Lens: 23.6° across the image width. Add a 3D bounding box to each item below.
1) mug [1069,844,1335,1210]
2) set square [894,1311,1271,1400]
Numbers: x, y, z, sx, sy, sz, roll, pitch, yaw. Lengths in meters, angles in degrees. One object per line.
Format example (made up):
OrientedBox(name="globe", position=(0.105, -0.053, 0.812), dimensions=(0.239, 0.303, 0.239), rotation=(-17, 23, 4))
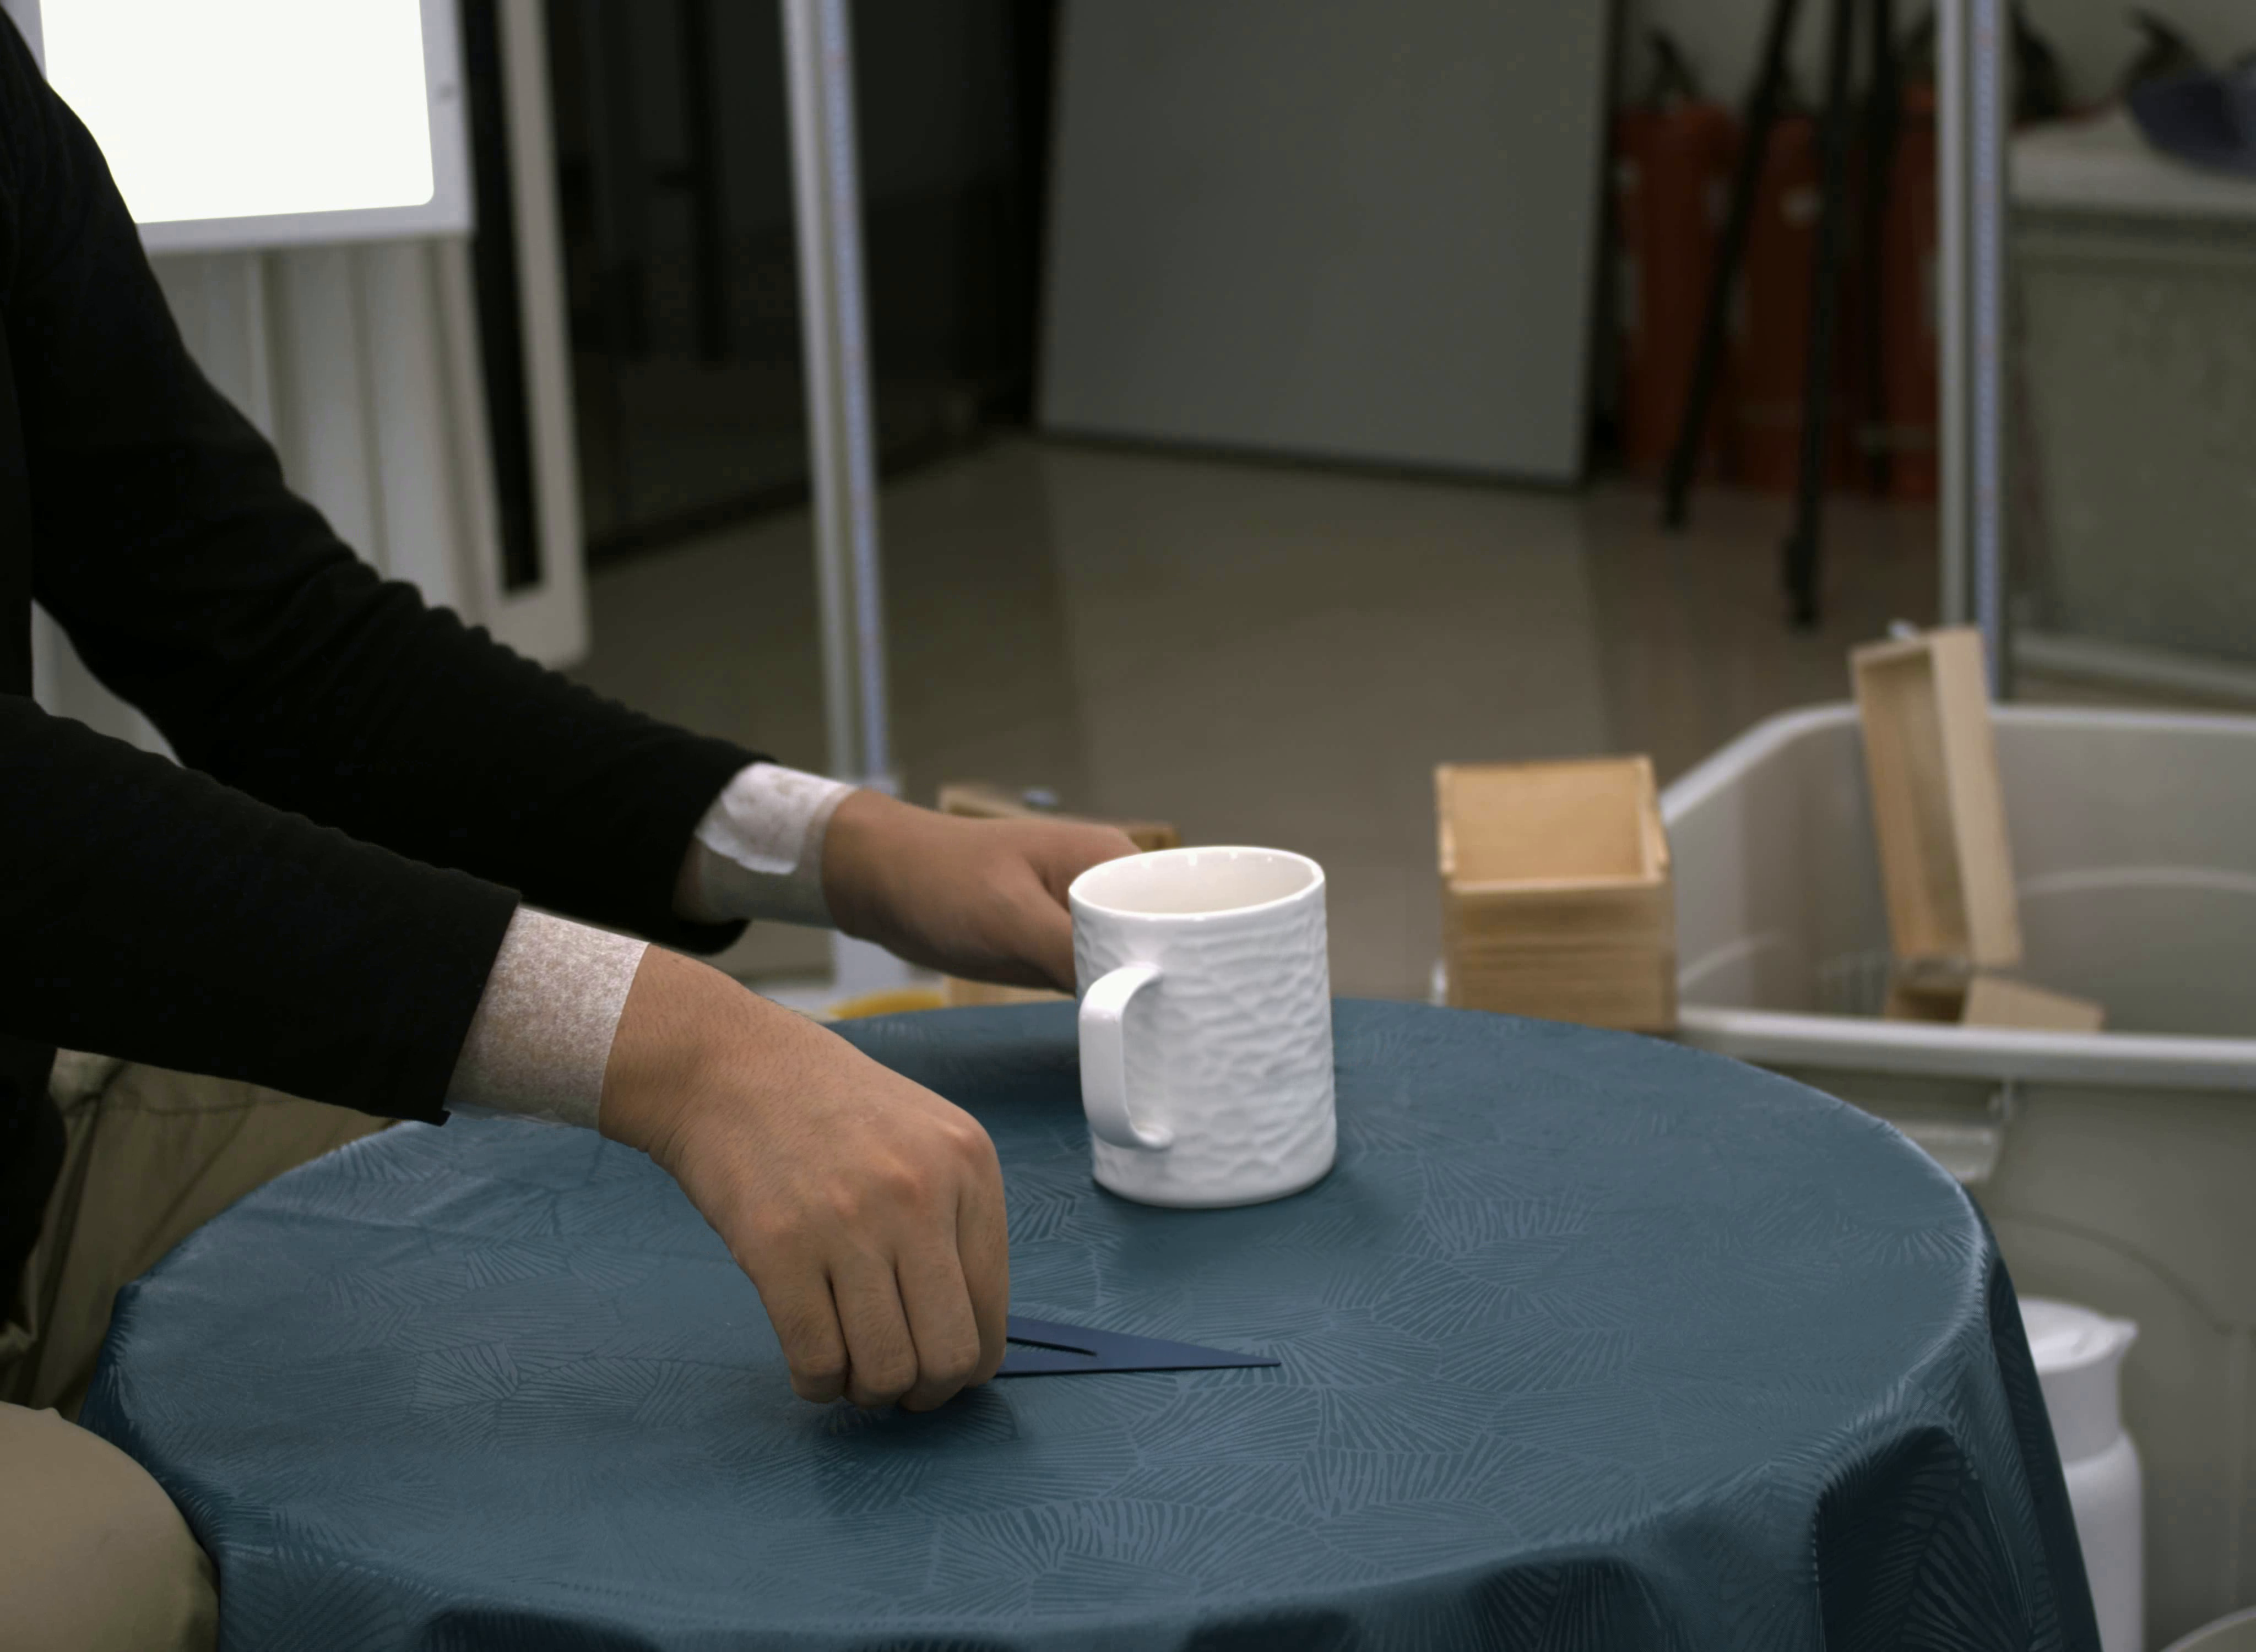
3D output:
OrientedBox(name="mug", position=(0.018, 0.069, 1.758), dimensions=(0.085, 0.103, 0.116), rotation=(4, 15, 28))
OrientedBox(name="set square", position=(-0.023, 0.163, 1.602), dimensions=(0.133, 0.006, 0.060), rotation=(8, 19, 38))
